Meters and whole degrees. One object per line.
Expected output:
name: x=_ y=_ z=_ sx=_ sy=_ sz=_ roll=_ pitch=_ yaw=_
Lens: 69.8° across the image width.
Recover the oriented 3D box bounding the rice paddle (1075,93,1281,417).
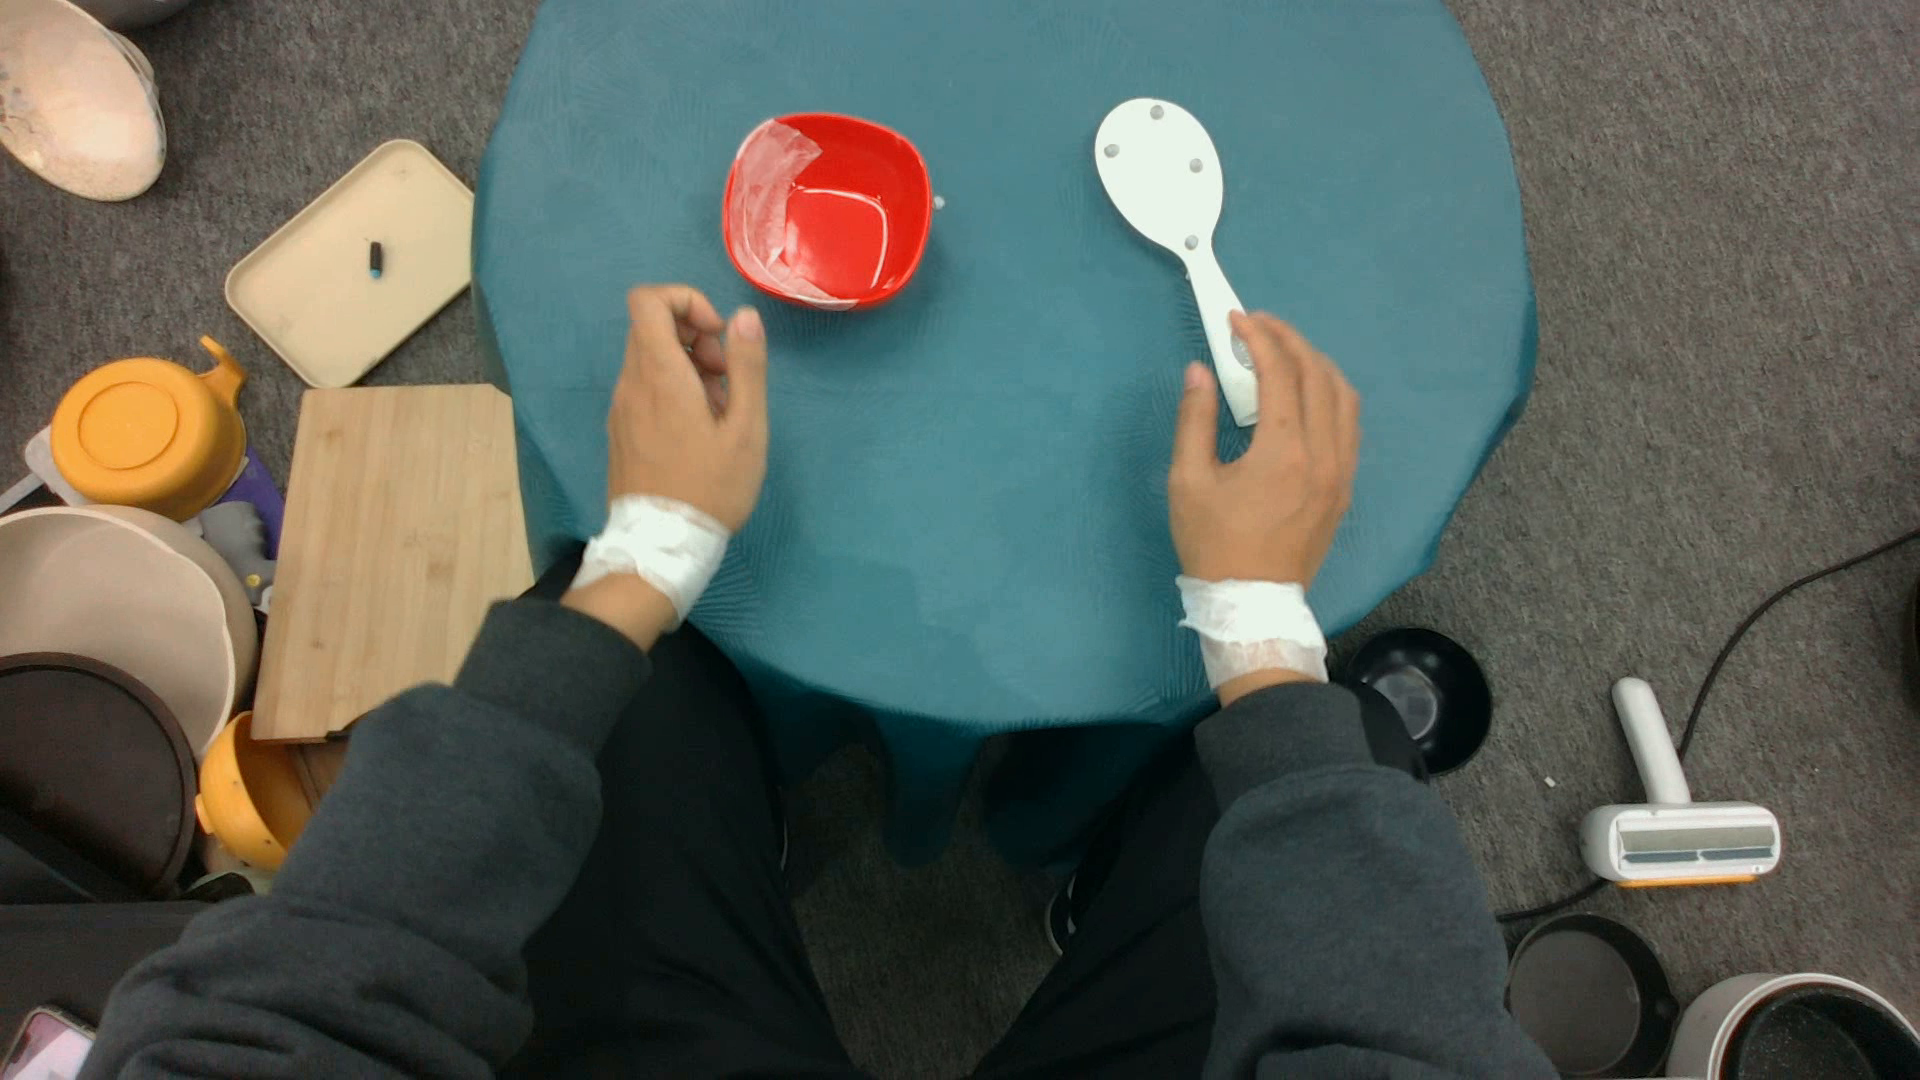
rice paddle: x=0.124 y=-0.167 z=0.777 sx=0.069 sy=0.029 sz=0.205 roll=-20 pitch=78 yaw=-10

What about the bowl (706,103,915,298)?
bowl: x=-0.081 y=-0.177 z=0.753 sx=0.119 sy=0.051 sz=0.119 roll=1 pitch=75 yaw=-4
